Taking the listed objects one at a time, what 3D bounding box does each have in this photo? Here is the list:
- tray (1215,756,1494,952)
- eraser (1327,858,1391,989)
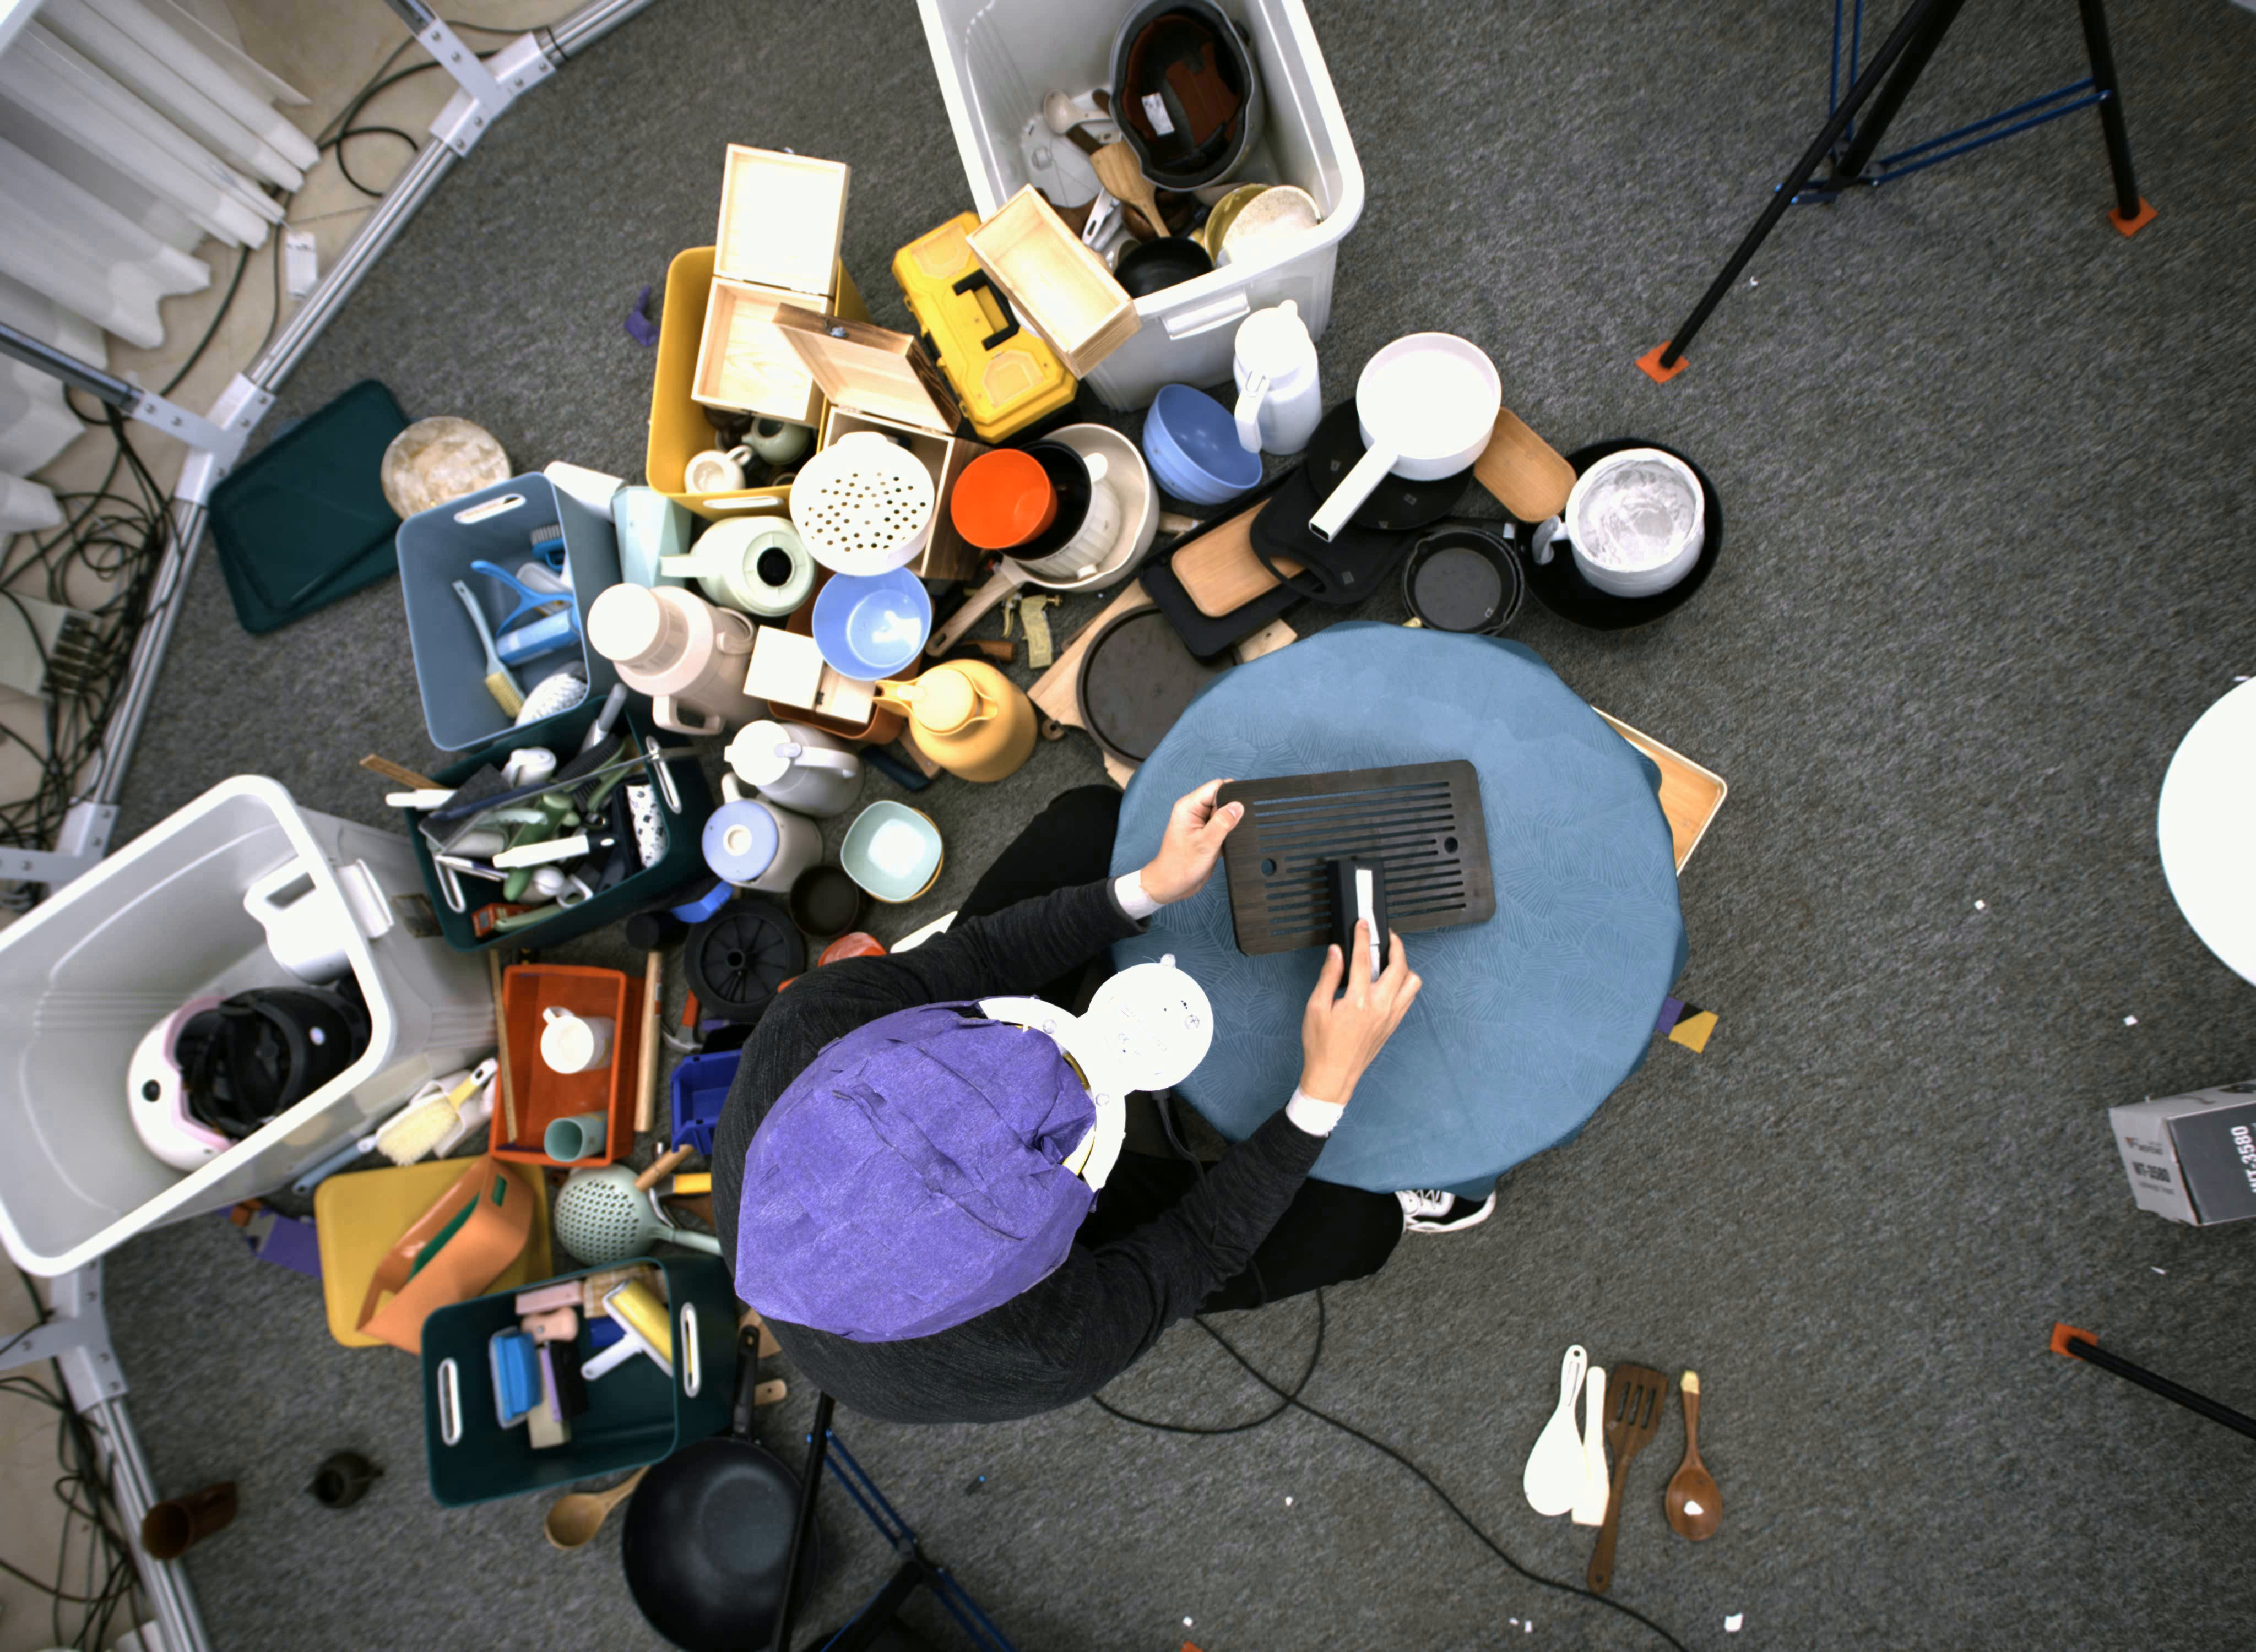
[{"bbox_3d":[0.231,0.023,1.383,0.304,0.019,0.170,-6,89,-22],"label":"tray"},{"bbox_3d":[0.225,0.094,1.351,0.053,0.030,0.125,-3,87,-19],"label":"eraser"}]
